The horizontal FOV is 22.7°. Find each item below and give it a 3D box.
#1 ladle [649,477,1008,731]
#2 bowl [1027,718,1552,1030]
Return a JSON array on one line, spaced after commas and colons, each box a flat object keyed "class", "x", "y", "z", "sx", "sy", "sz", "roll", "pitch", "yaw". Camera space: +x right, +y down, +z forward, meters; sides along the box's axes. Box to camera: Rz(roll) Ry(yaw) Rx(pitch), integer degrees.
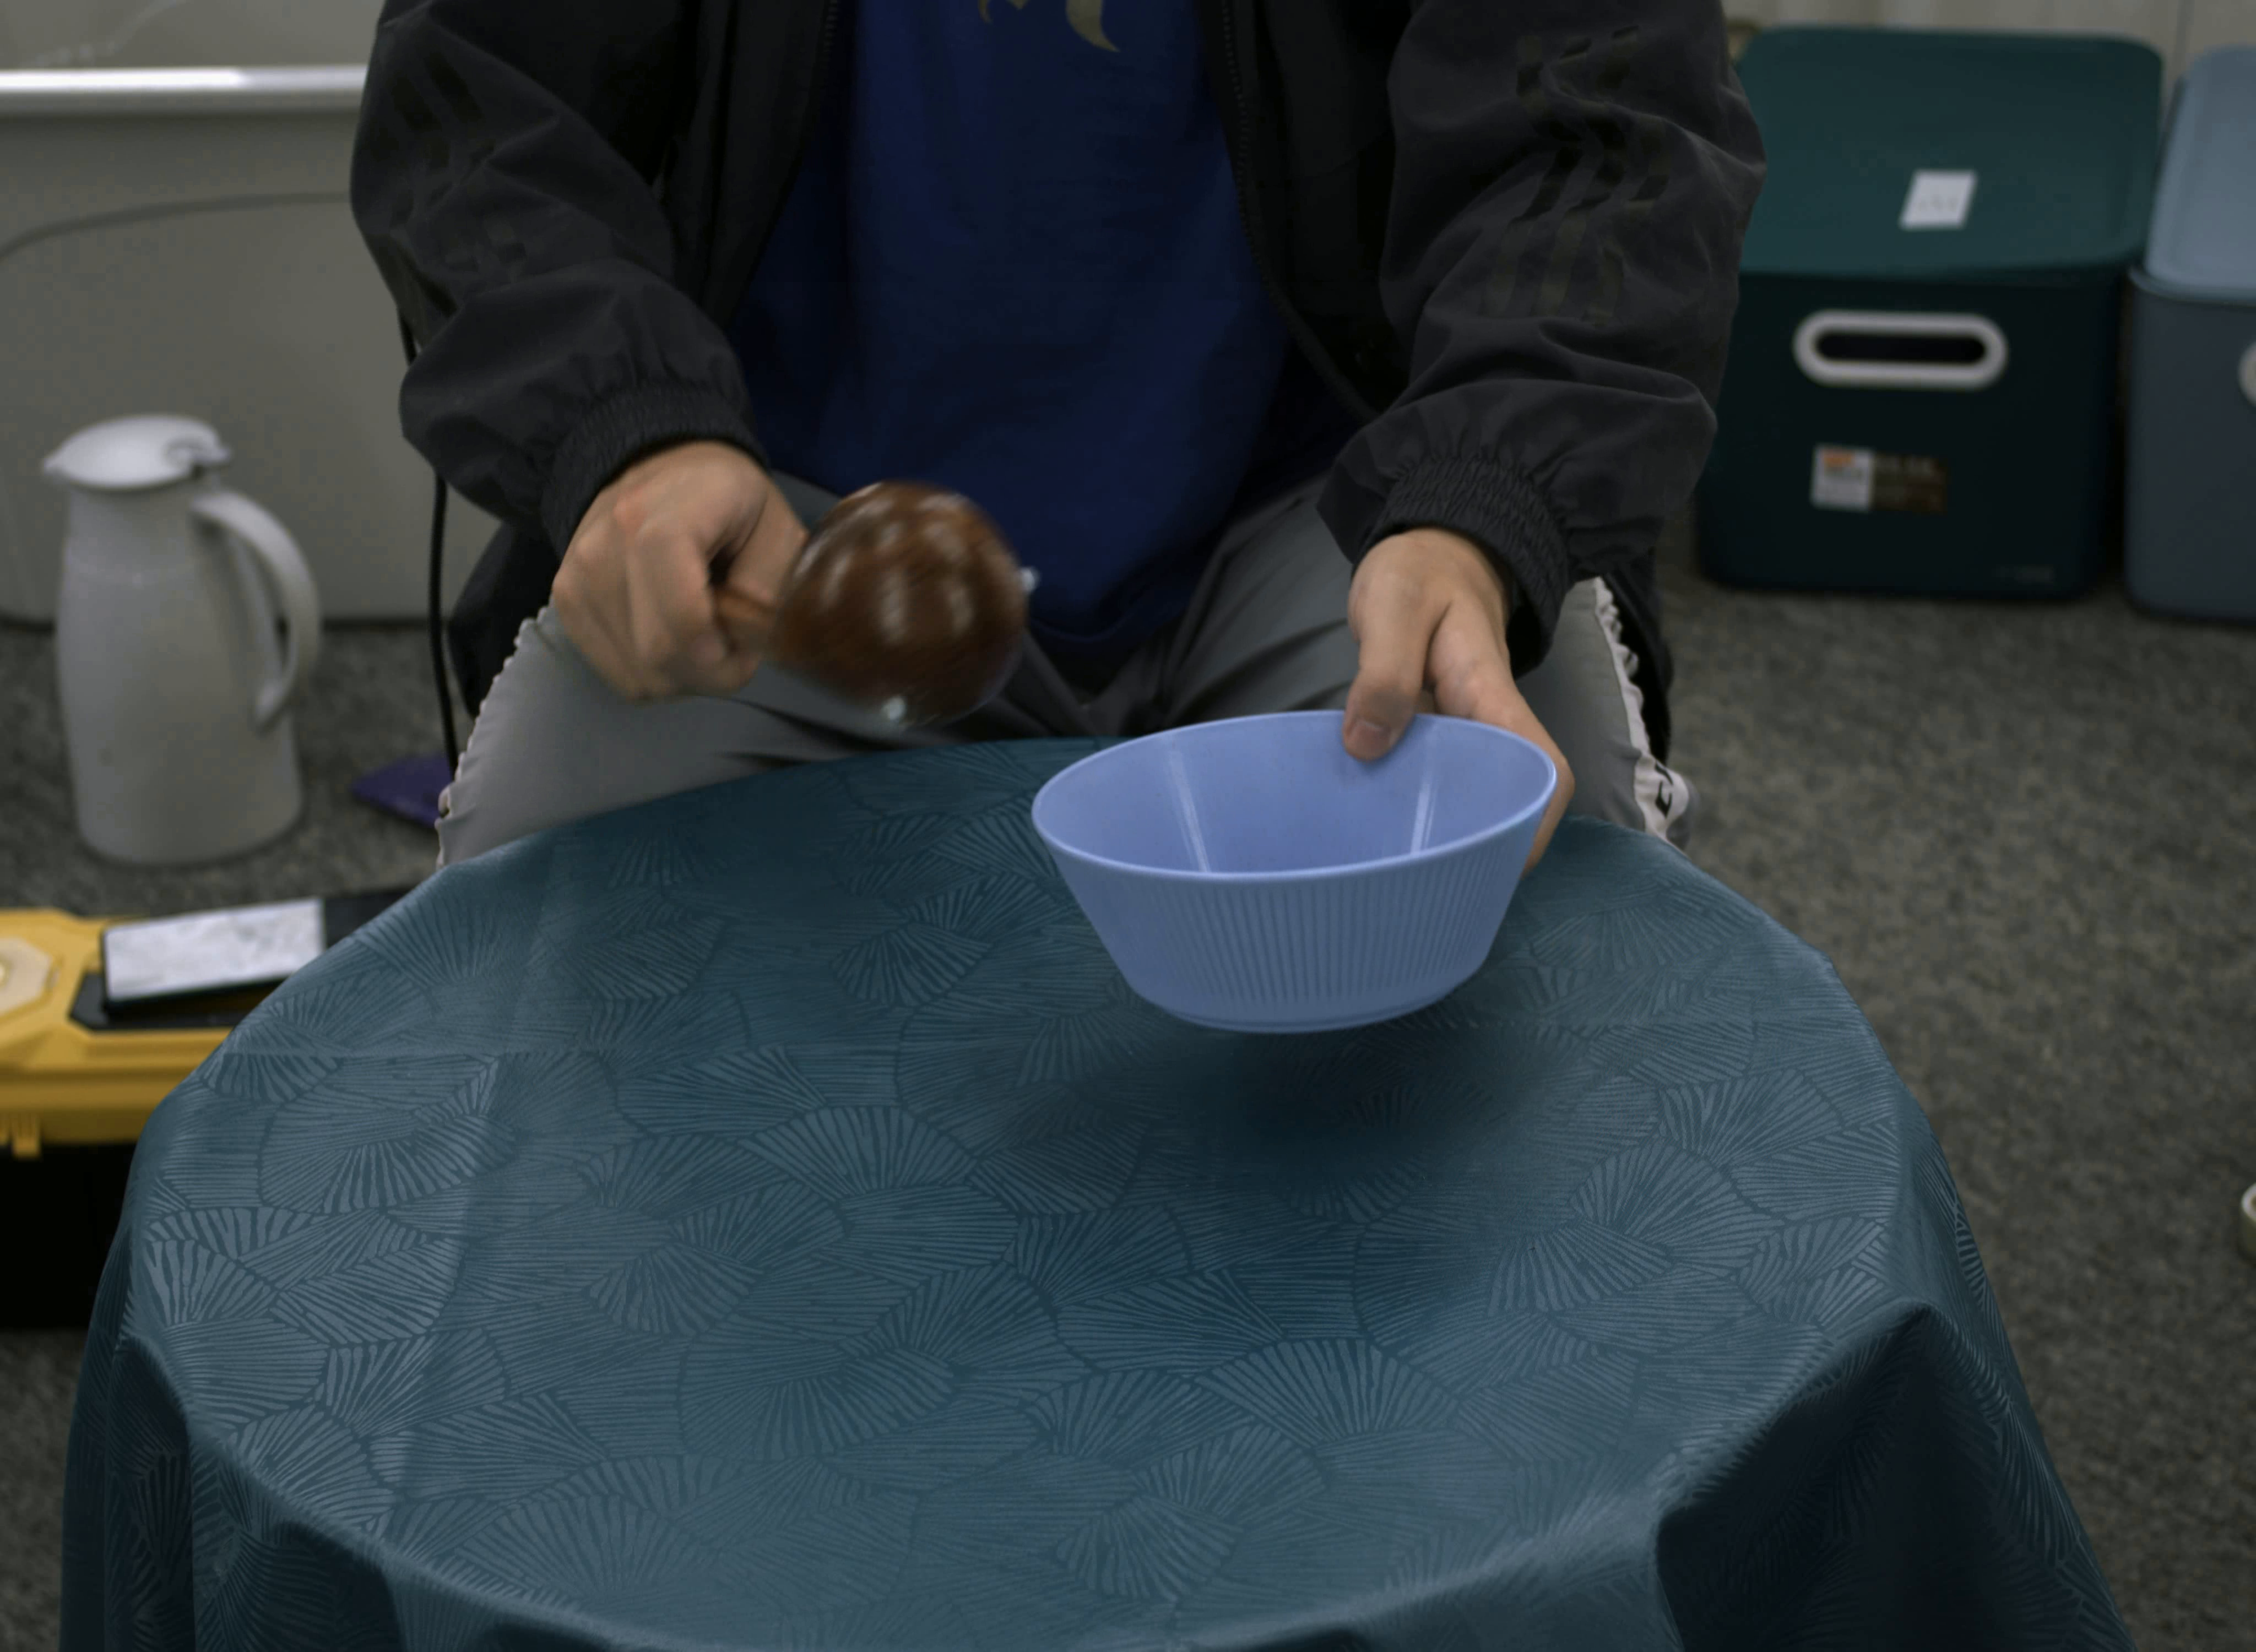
[{"class": "ladle", "x": -0.104, "y": -0.074, "z": 1.905, "sx": 0.076, "sy": 0.082, "sz": 0.273, "roll": -11, "pitch": 5, "yaw": -13}, {"class": "bowl", "x": 0.056, "y": 0.019, "z": 1.878, "sx": 0.175, "sy": 0.070, "sz": 0.178, "roll": -3, "pitch": 17, "yaw": 1}]
